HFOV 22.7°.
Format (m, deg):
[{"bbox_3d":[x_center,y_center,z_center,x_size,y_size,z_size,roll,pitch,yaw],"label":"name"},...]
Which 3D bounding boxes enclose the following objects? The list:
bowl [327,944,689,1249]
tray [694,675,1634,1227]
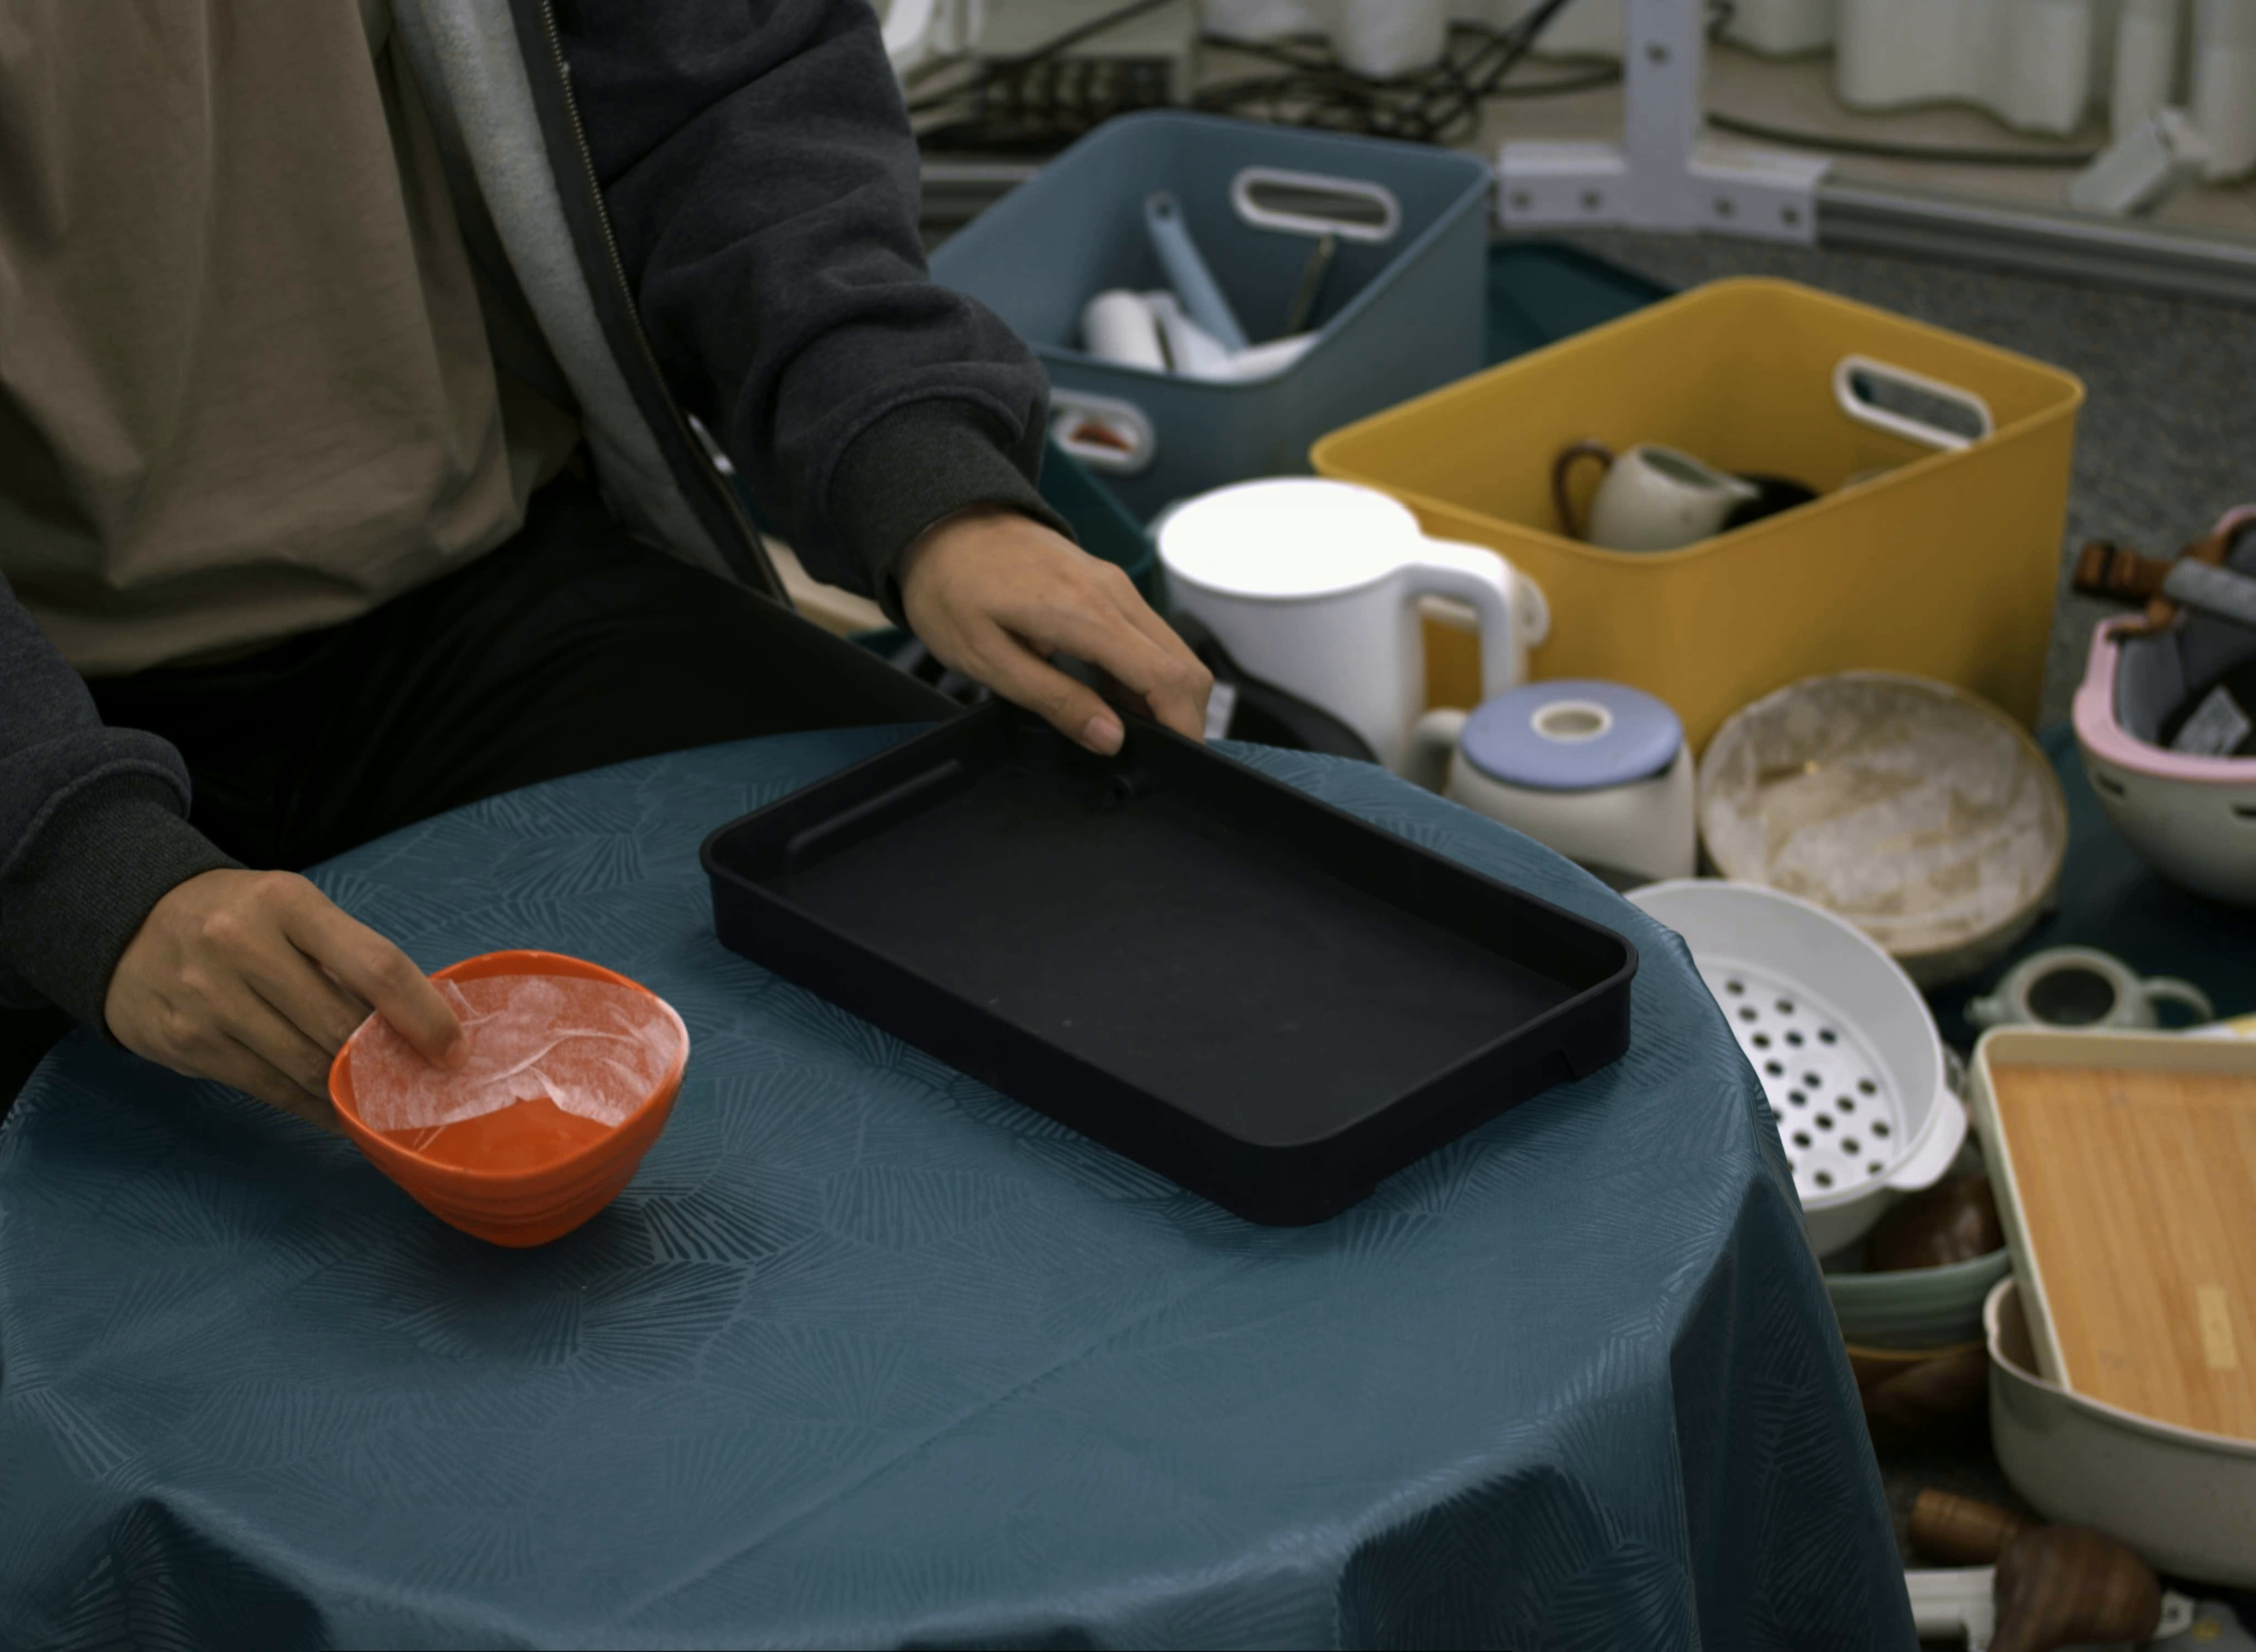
[{"bbox_3d":[-0.201,0.095,1.846,0.118,0.050,0.121,-1,37,1],"label":"bowl"},{"bbox_3d":[0.009,0.038,1.978,0.186,0.036,0.318,-25,36,-36],"label":"tray"}]
